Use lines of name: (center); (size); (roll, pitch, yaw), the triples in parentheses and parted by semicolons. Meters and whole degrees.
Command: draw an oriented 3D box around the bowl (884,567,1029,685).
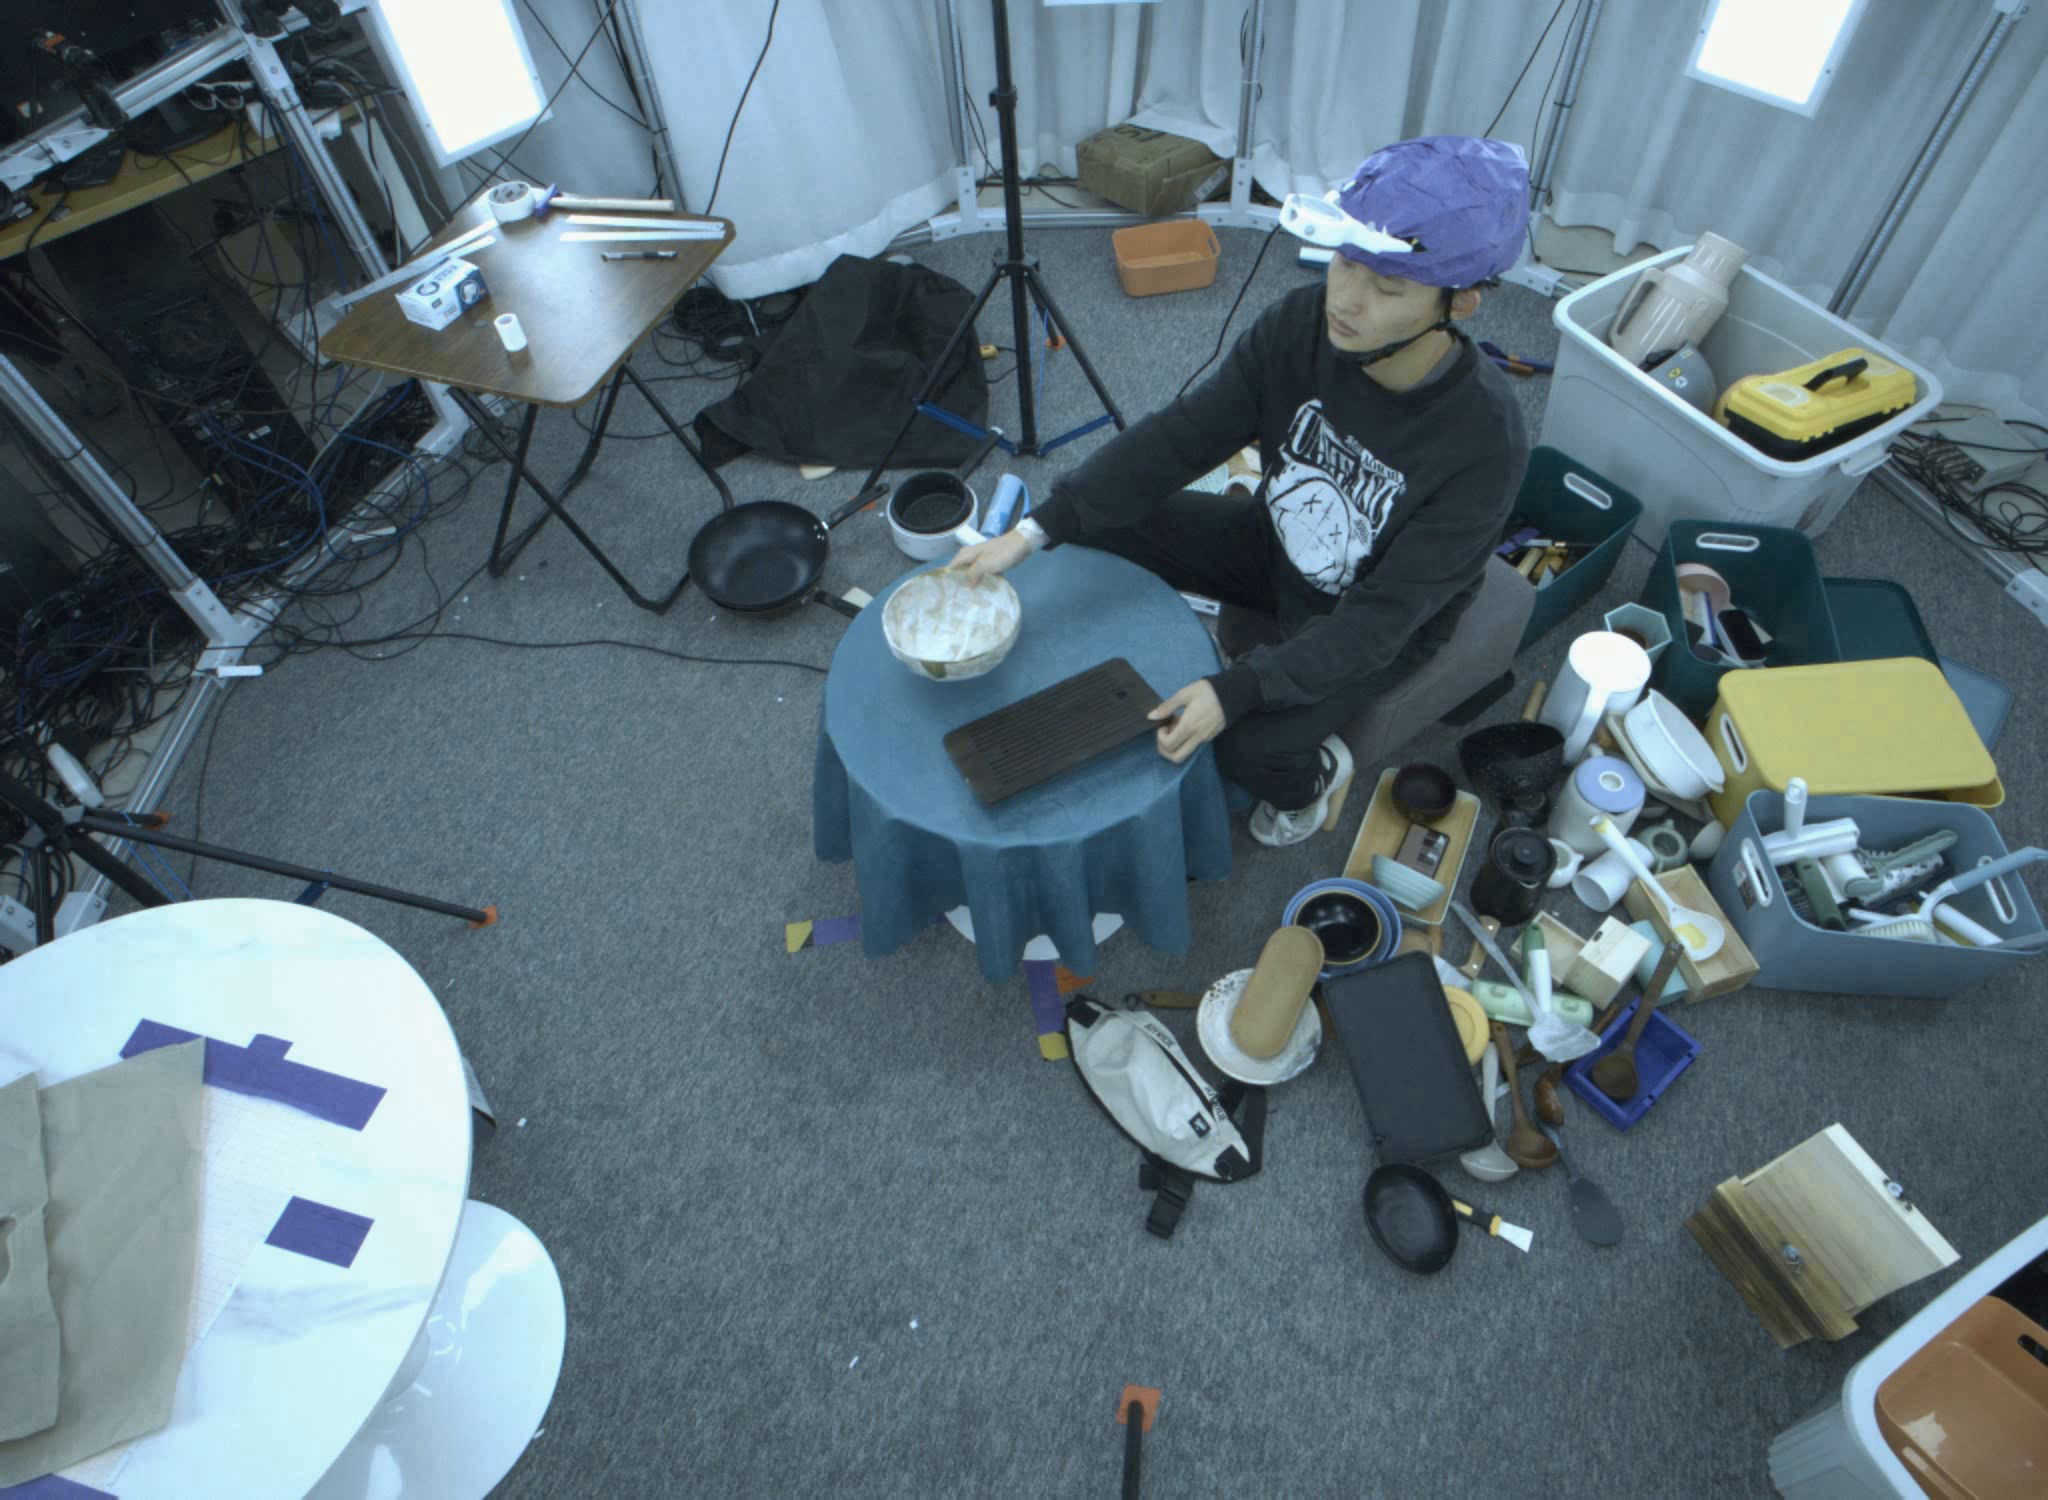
bowl: (-0.095, -0.166, 1.808); (0.214, 0.096, 0.212); (-2, 51, 3)

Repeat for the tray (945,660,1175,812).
tray: (0.051, -0.023, 1.776); (0.308, 0.019, 0.166); (-25, 46, -13)
